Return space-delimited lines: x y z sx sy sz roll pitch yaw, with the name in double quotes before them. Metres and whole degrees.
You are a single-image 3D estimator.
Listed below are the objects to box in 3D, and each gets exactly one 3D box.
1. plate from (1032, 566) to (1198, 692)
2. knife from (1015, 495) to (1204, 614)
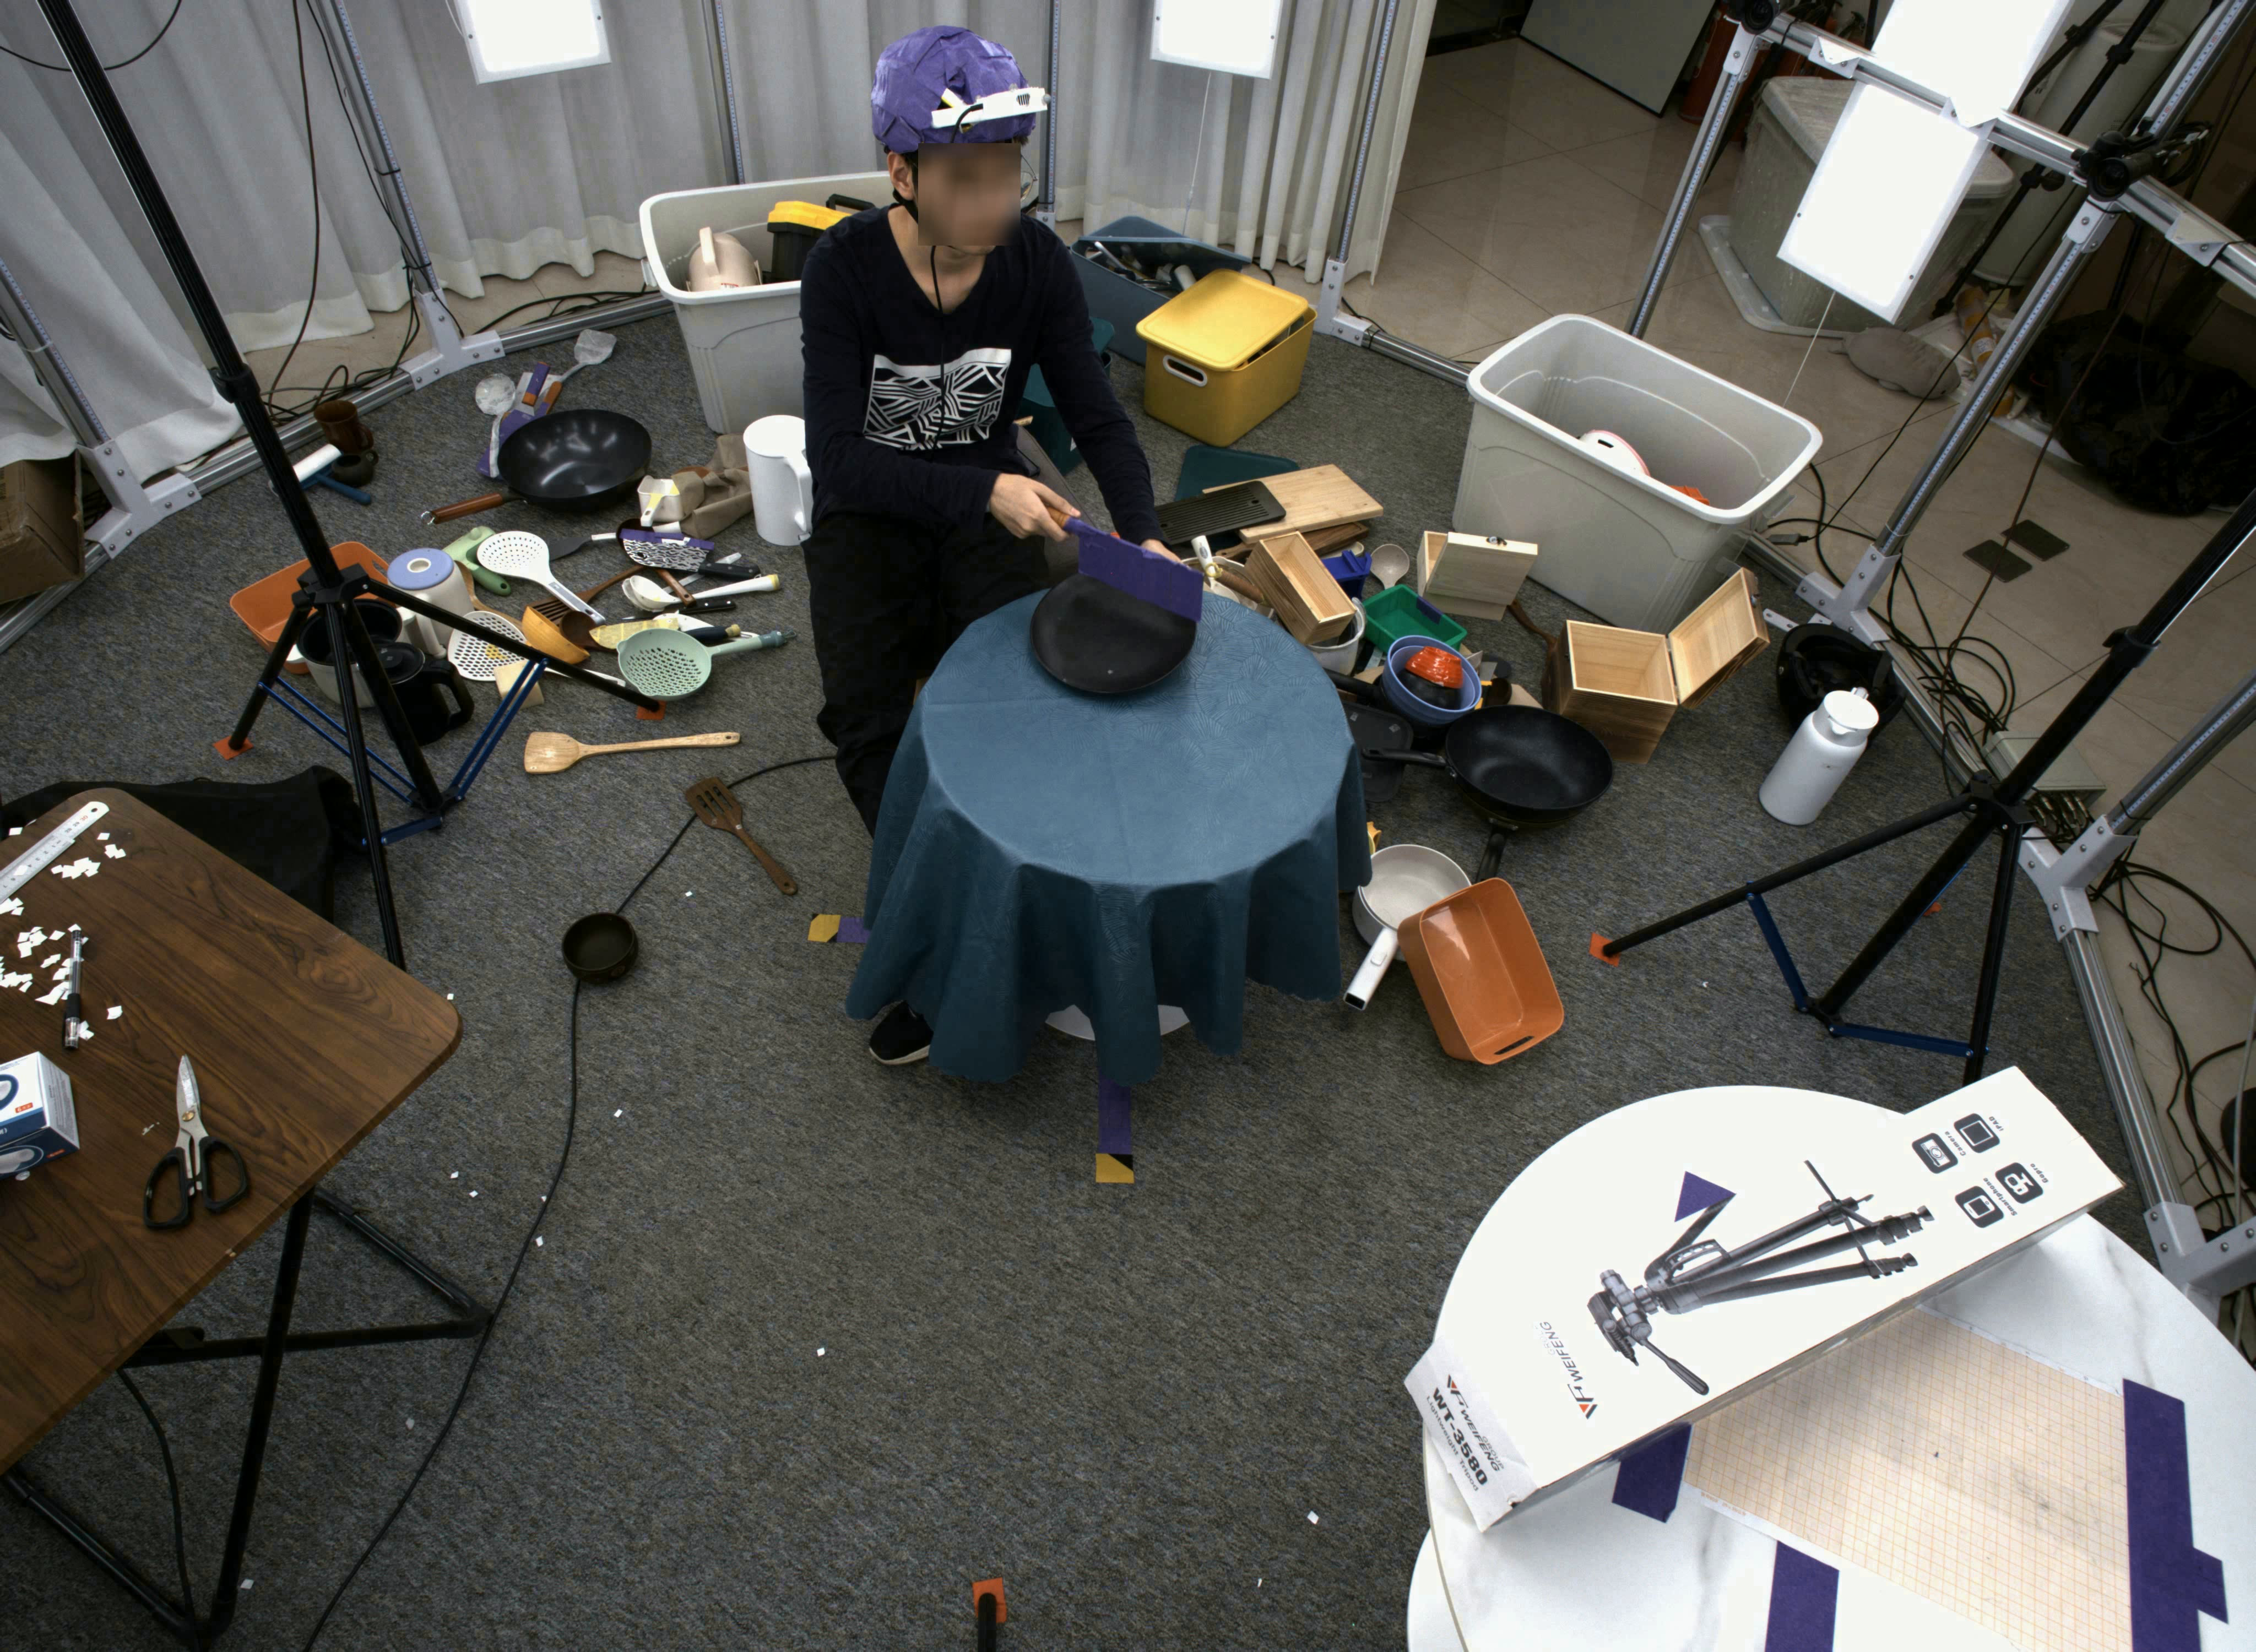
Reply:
"plate" -0.019 -0.290 1.877 0.244 0.023 0.250 -4 57 5
"knife" -0.028 -0.386 1.854 0.318 0.101 0.032 27 52 22
